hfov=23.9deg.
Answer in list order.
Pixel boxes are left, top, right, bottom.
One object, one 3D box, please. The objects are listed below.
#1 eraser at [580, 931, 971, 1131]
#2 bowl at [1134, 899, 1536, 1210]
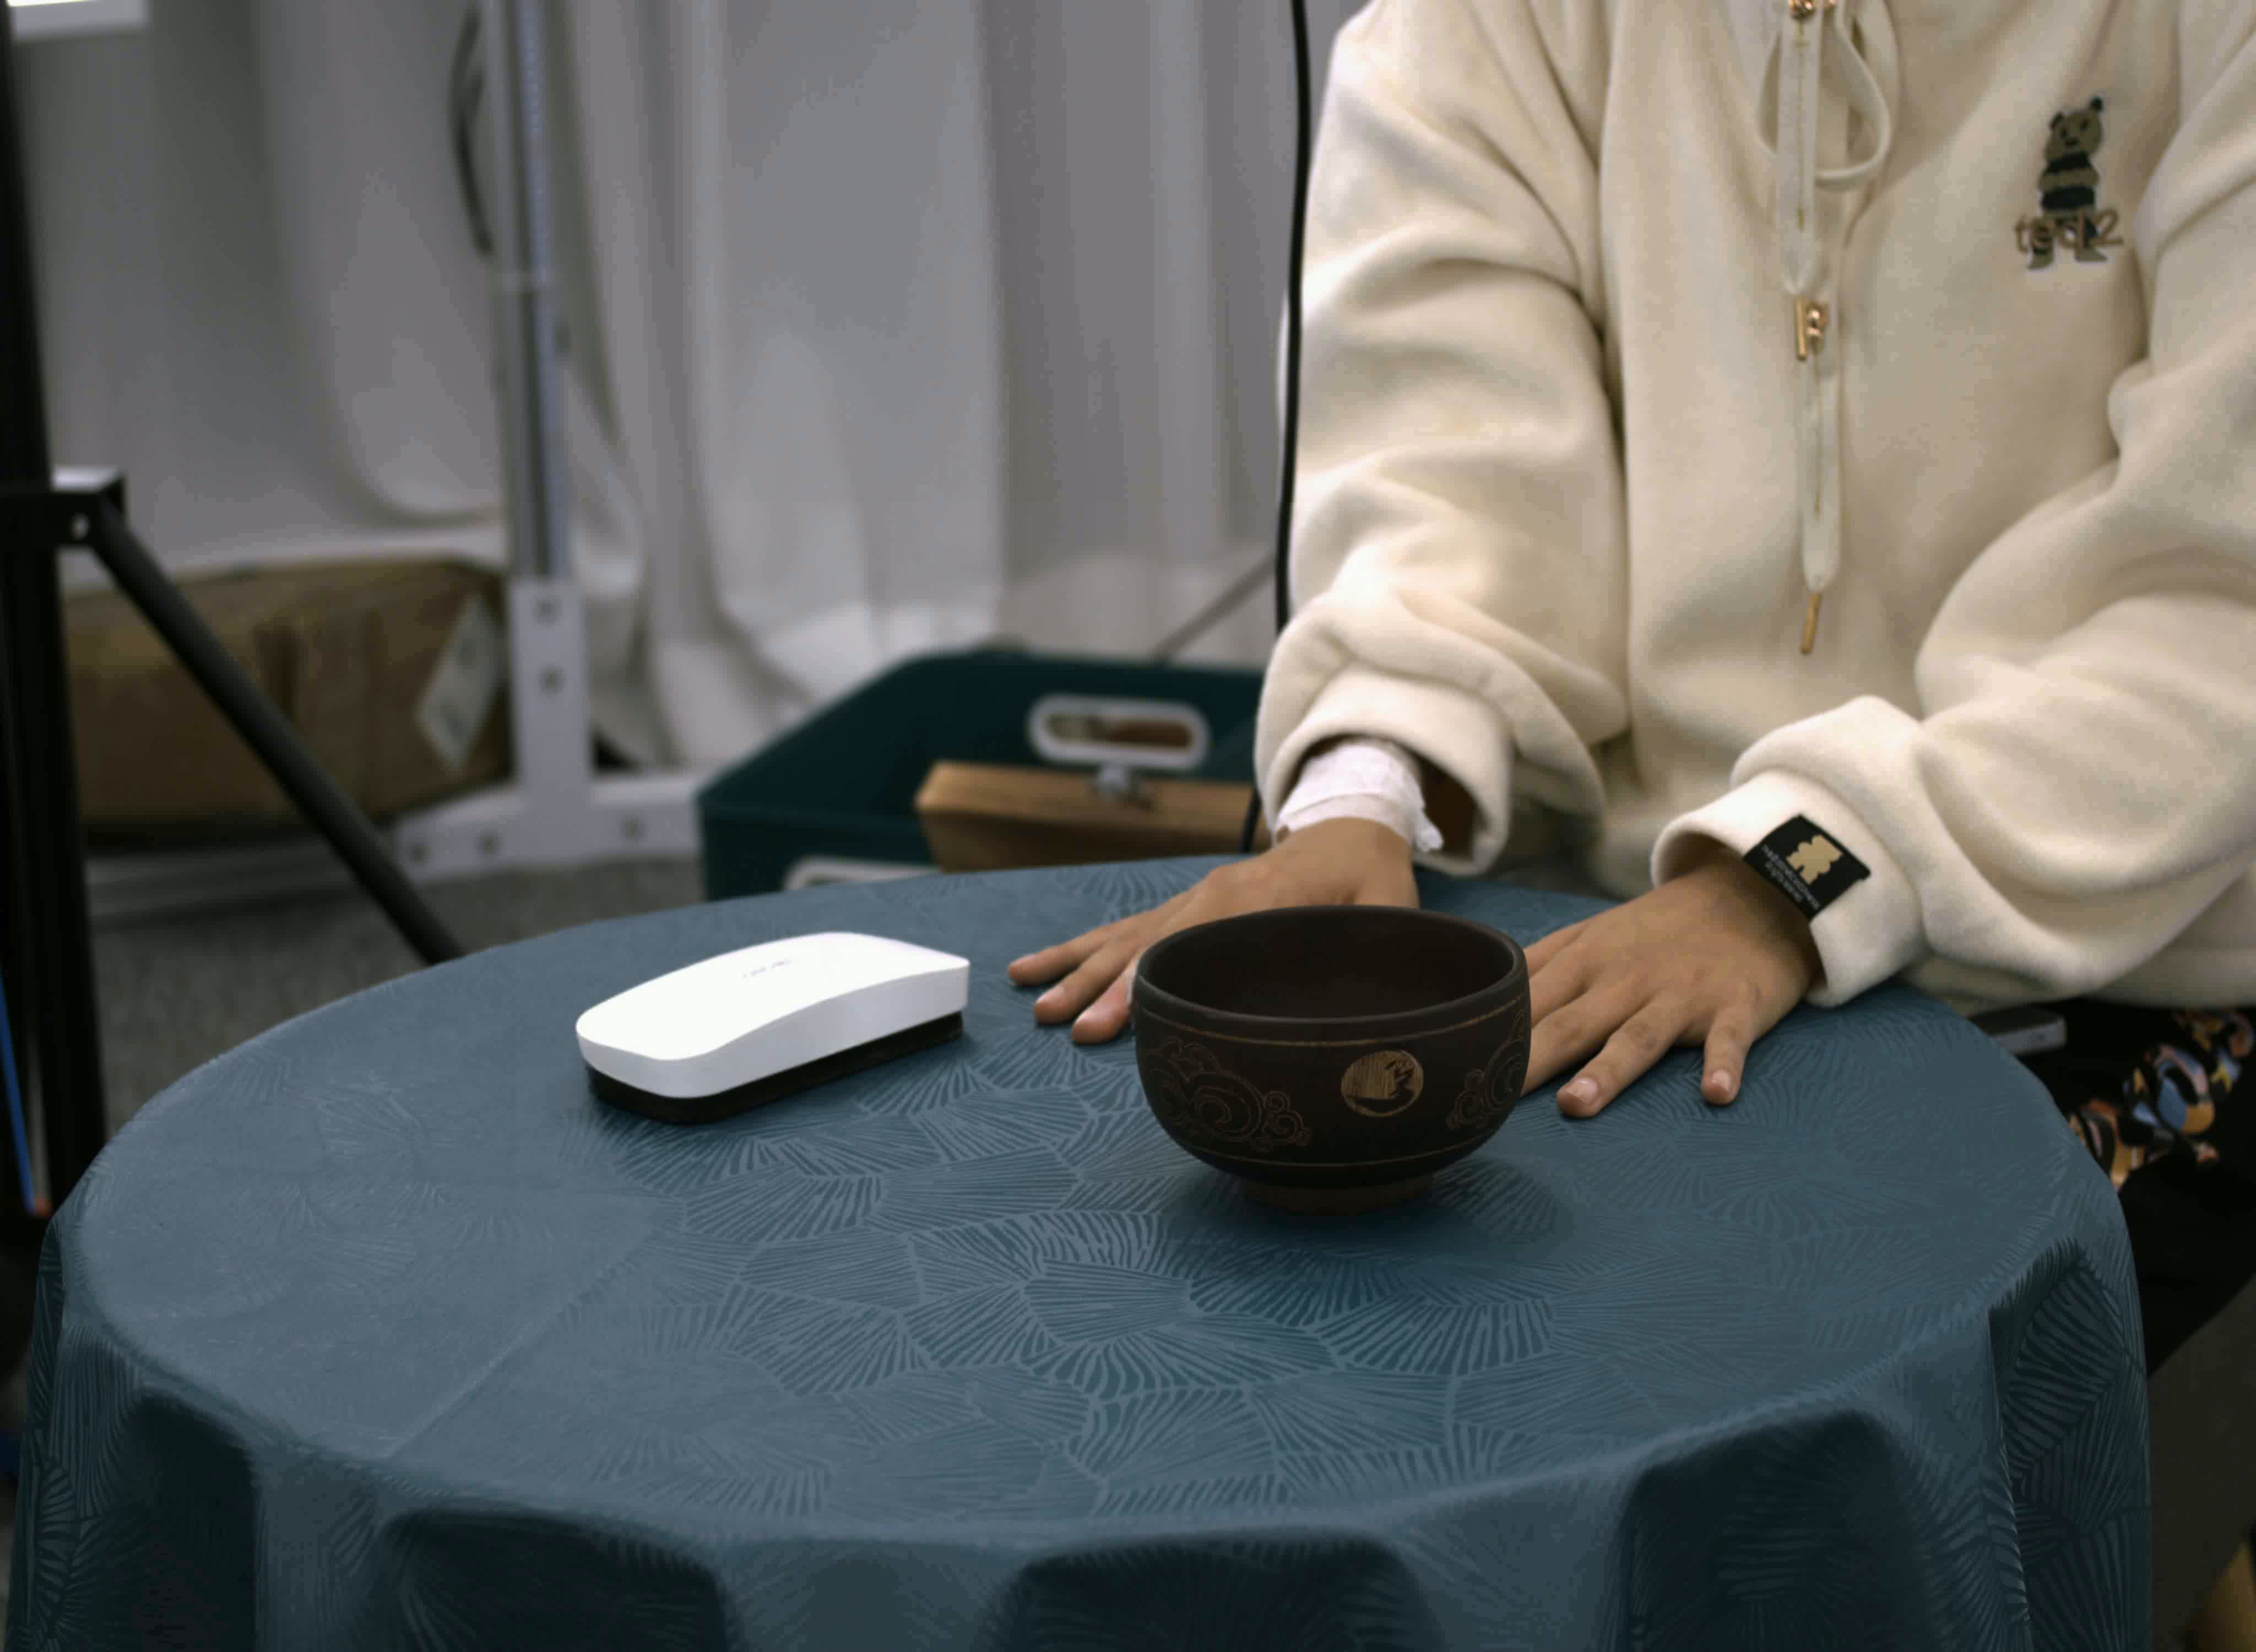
[{"bbox_3d":[-0.109,0.061,1.685,0.128,0.034,0.065,-18,22,-42],"label":"eraser"},{"bbox_3d":[0.060,0.071,1.548,0.117,0.070,0.118,-1,16,-1],"label":"bowl"}]
